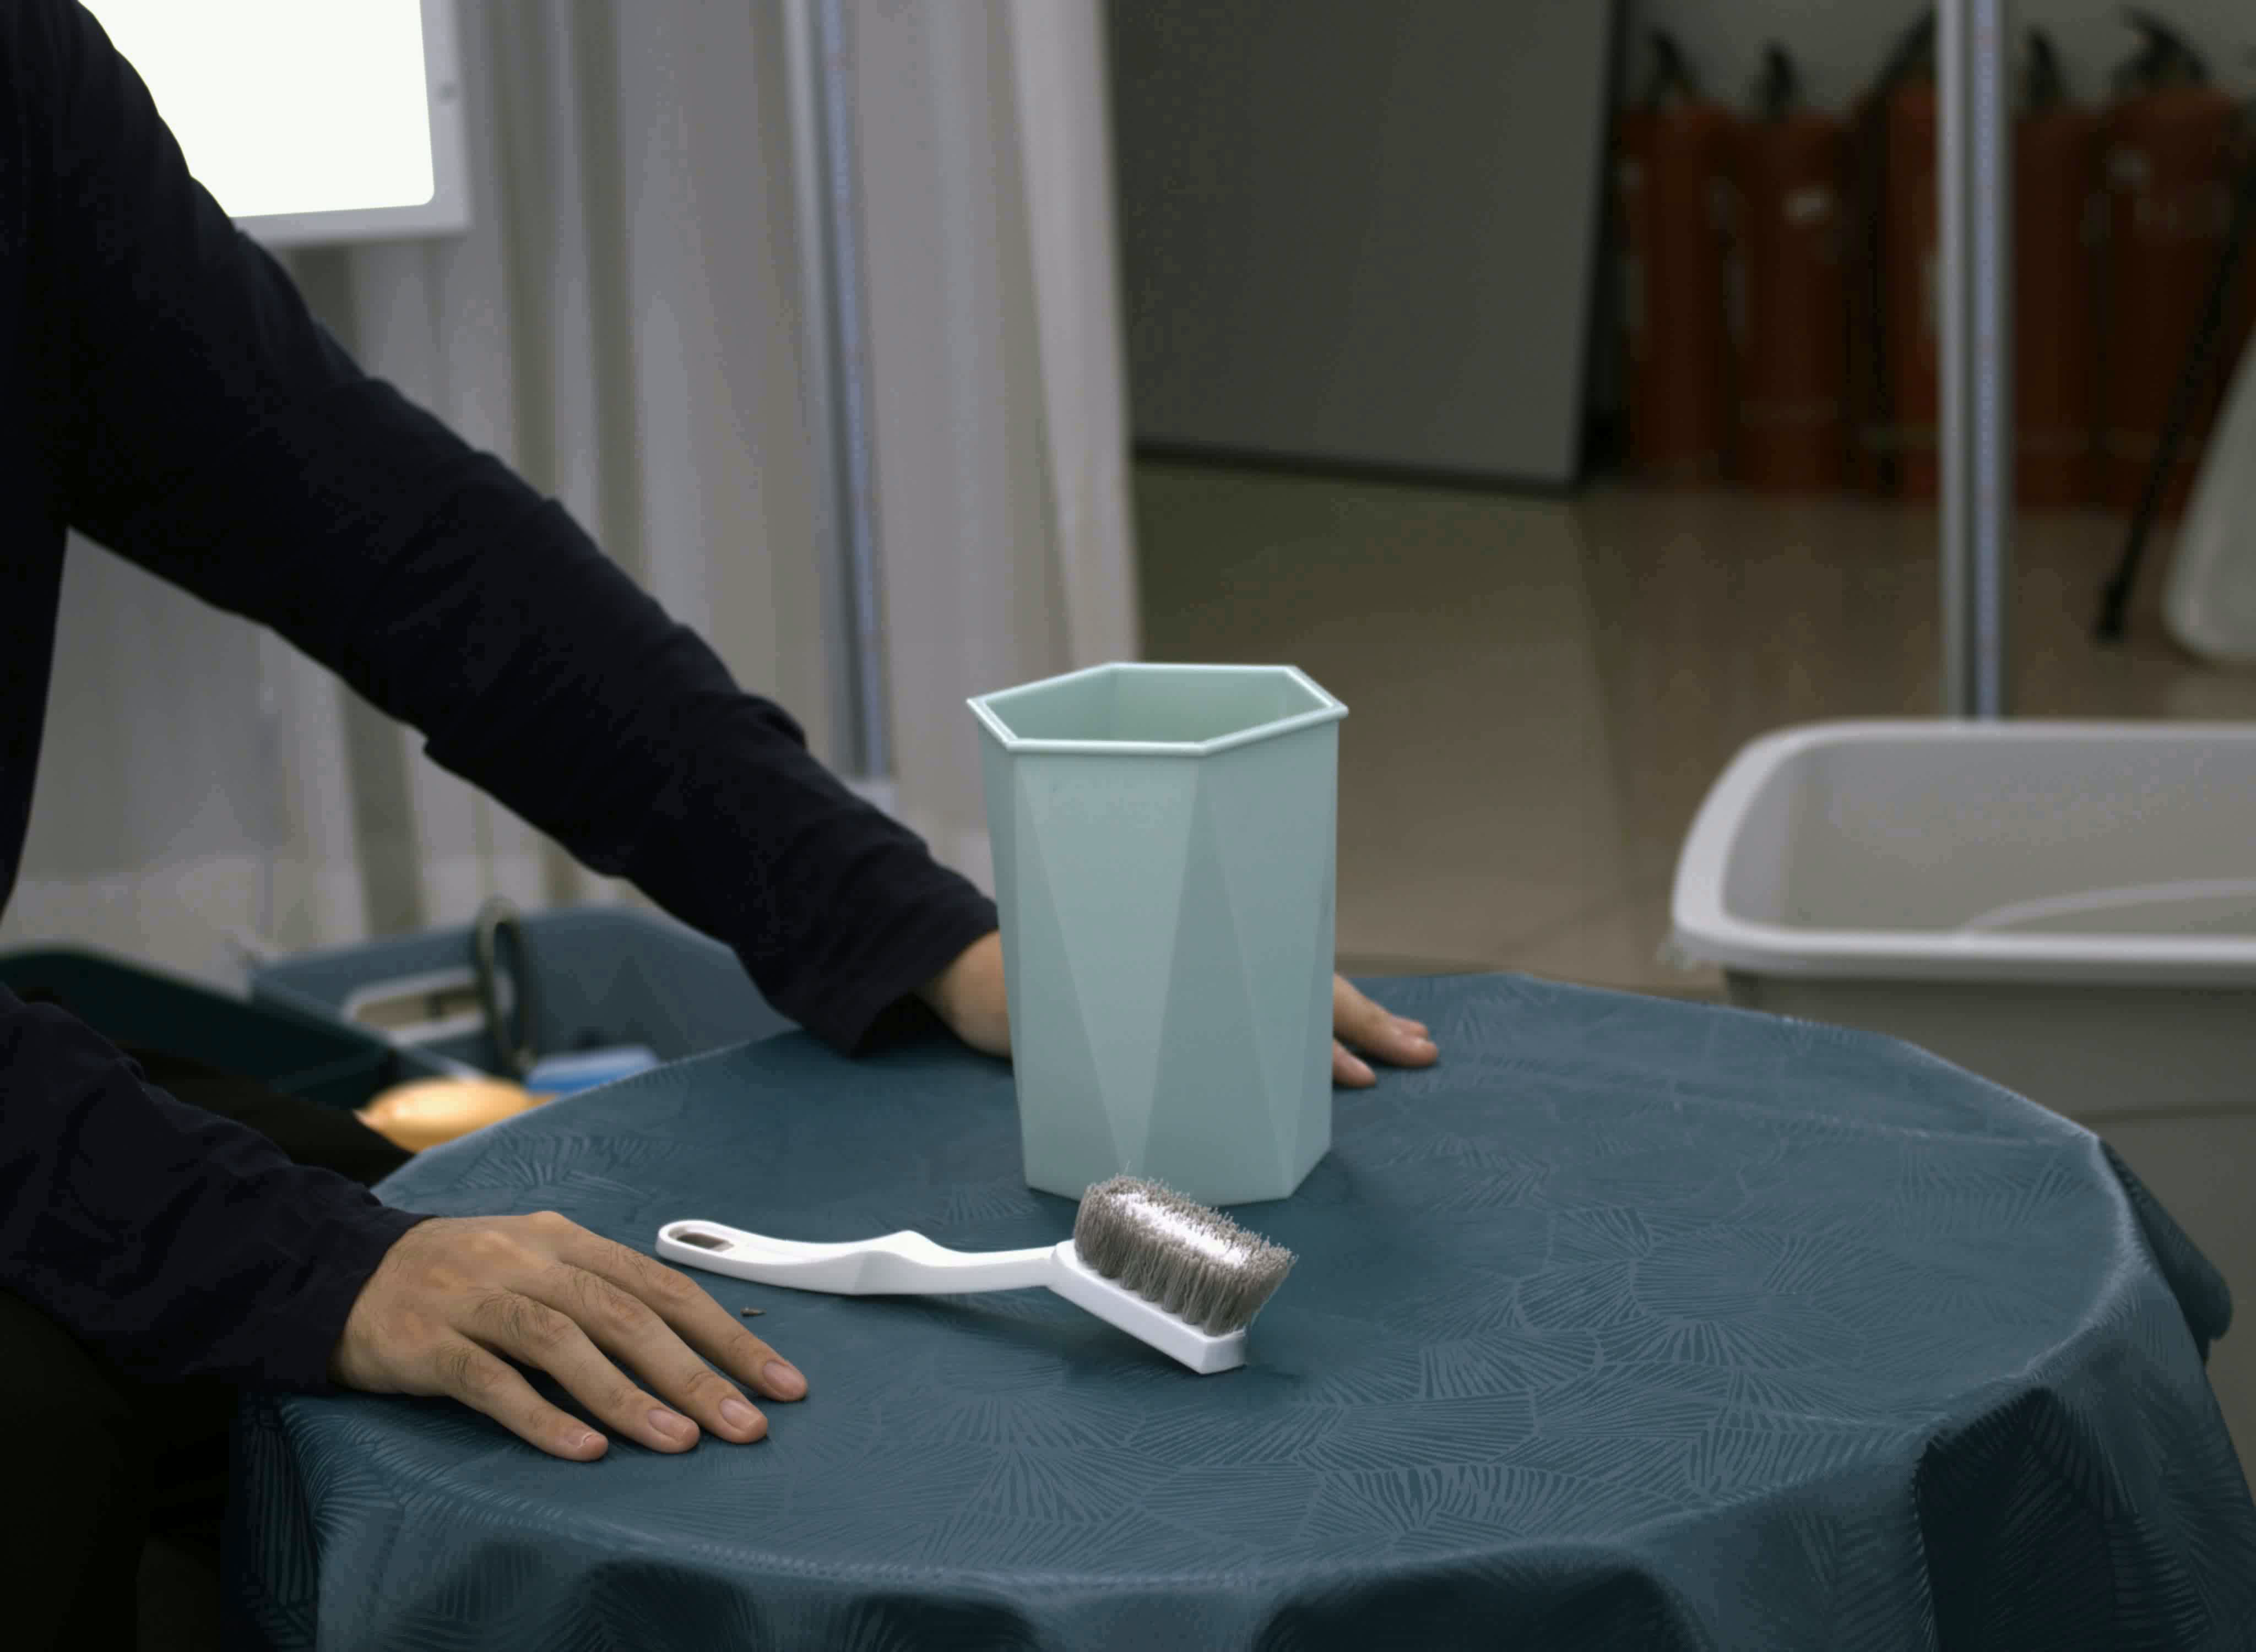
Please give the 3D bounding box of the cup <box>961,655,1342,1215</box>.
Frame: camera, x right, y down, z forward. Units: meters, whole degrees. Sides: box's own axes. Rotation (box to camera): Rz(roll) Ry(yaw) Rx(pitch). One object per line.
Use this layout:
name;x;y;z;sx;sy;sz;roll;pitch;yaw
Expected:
cup;0.014;0.036;1.776;0.113;0.165;0.132;-8;13;-13

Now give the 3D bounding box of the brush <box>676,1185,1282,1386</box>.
brush;-0.052;0.128;1.667;0.245;0.051;0.034;8;22;41
